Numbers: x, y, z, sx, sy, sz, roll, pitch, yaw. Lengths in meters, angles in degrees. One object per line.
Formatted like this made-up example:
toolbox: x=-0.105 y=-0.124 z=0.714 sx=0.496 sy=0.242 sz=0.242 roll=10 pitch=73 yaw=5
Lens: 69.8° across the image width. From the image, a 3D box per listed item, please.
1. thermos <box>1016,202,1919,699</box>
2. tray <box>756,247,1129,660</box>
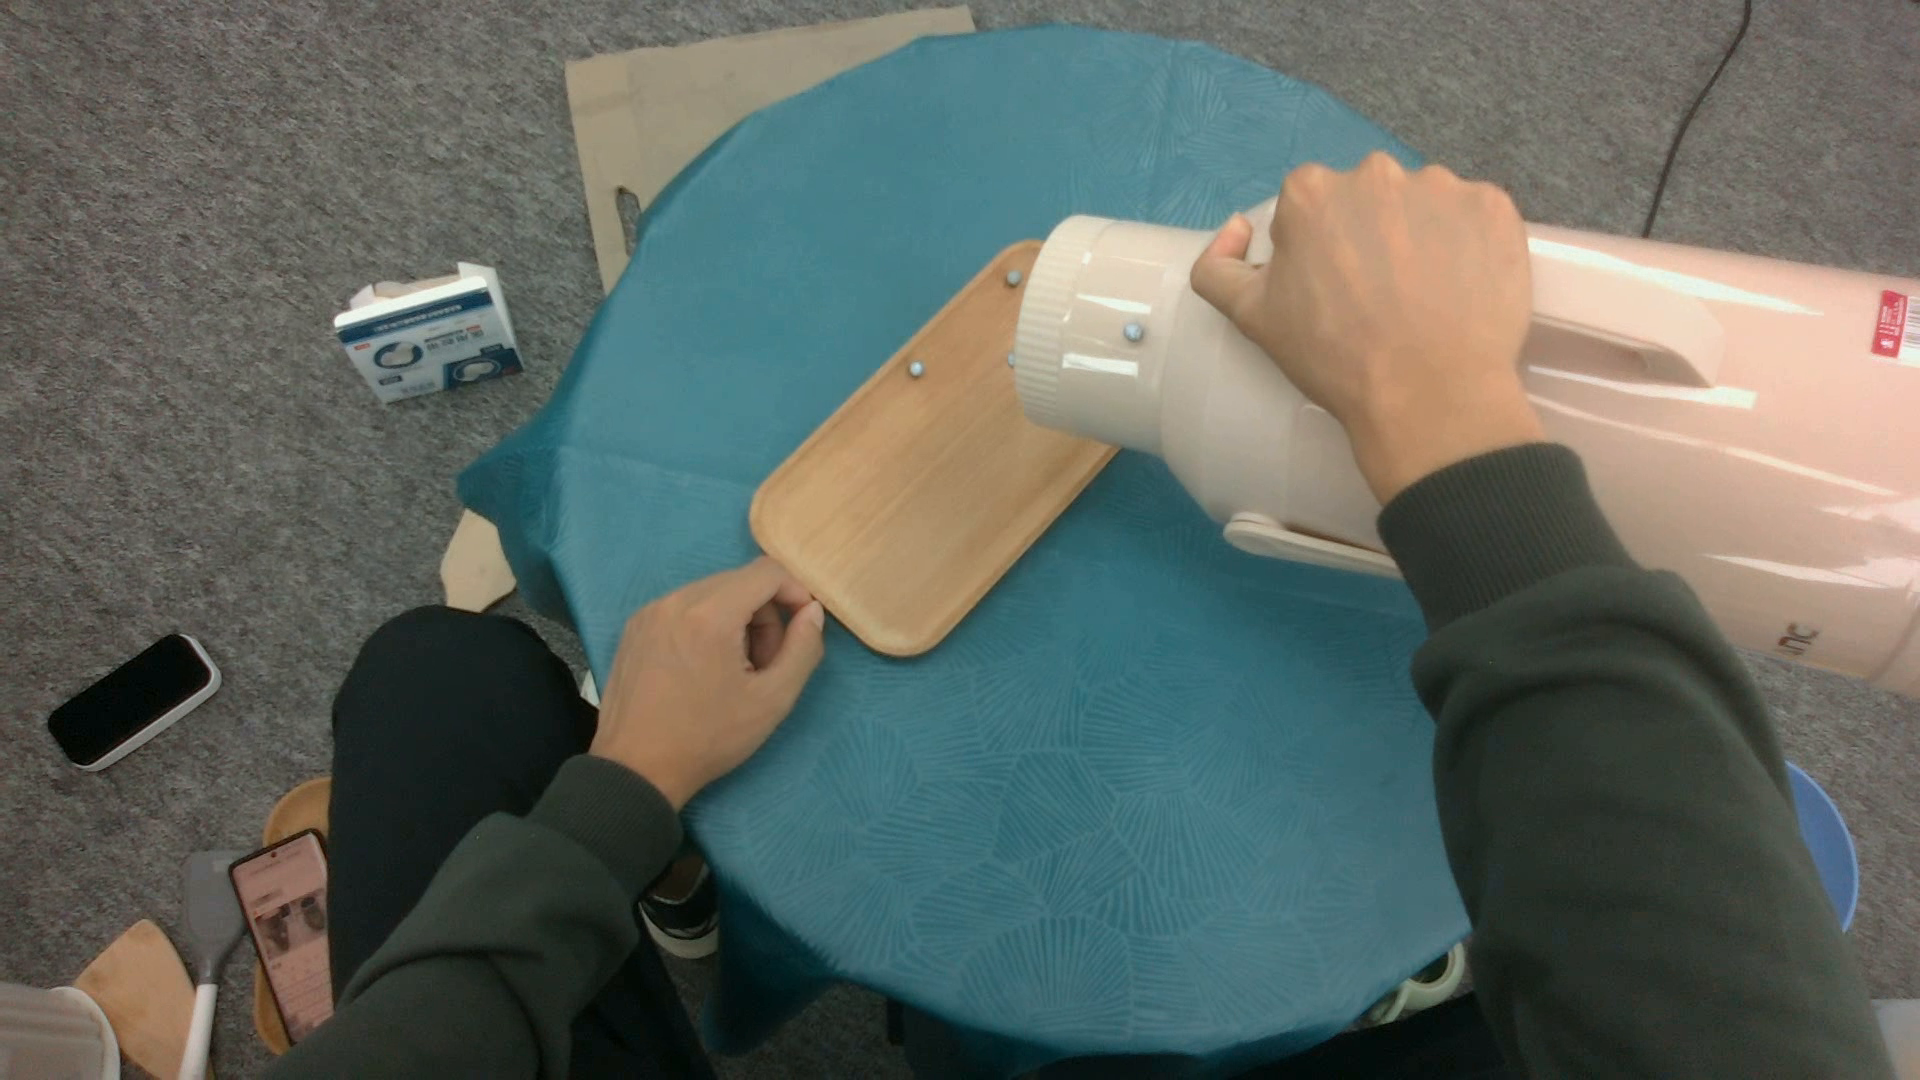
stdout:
thermos: x=0.224 y=-0.062 z=0.604 sx=0.406 sy=0.207 sz=0.175 roll=16 pitch=77 yaw=23
tray: x=0.009 y=-0.053 z=0.768 sx=0.130 sy=0.023 sz=0.251 roll=41 pitch=73 yaw=10
